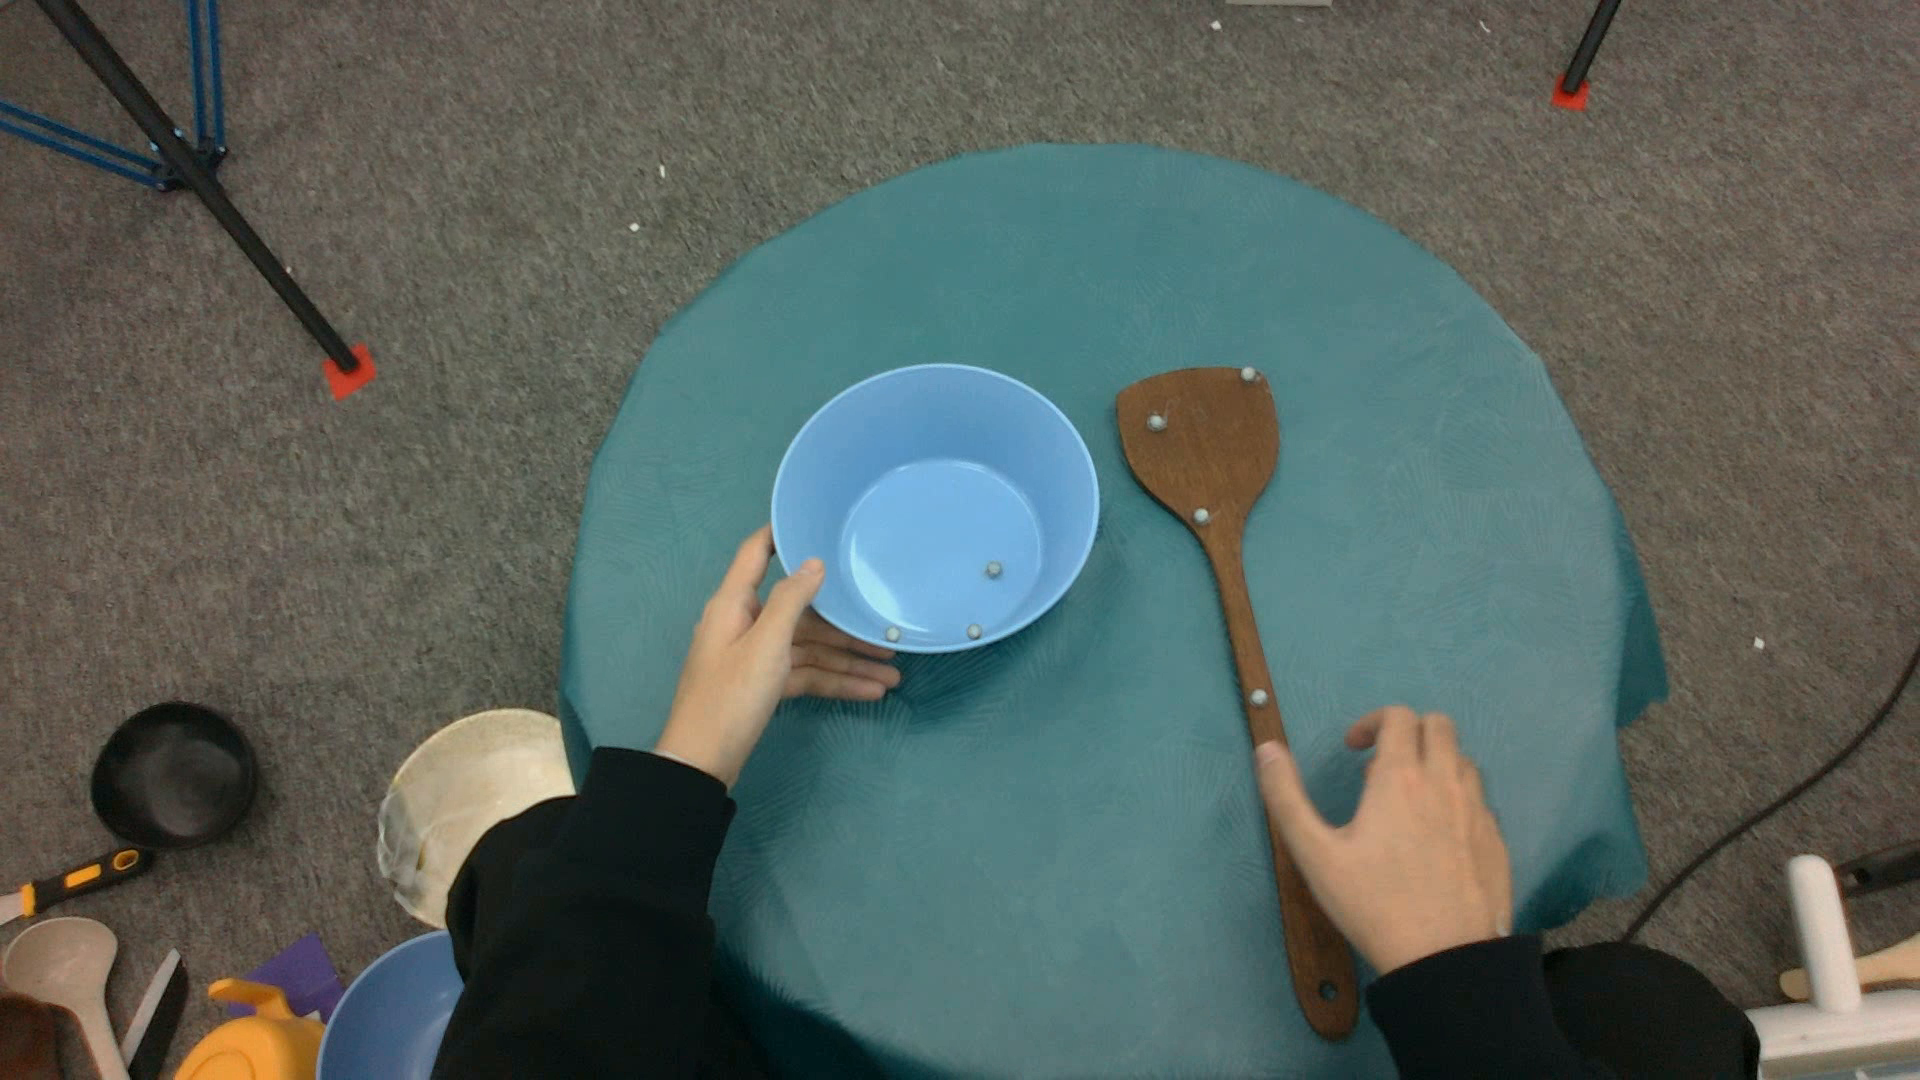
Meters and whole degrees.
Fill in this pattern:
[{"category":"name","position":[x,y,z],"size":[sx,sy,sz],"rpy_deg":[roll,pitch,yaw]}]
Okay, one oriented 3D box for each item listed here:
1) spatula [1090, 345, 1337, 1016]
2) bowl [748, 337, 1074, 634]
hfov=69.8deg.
[{"category":"spatula","position":[0.147,0.058,0.752],"size":[0.096,0.016,0.387],"rpy_deg":[-8,65,-2]},{"category":"bowl","position":[-0.025,-0.021,0.763],"size":[0.176,0.070,0.176],"rpy_deg":[-1,66,1]}]
